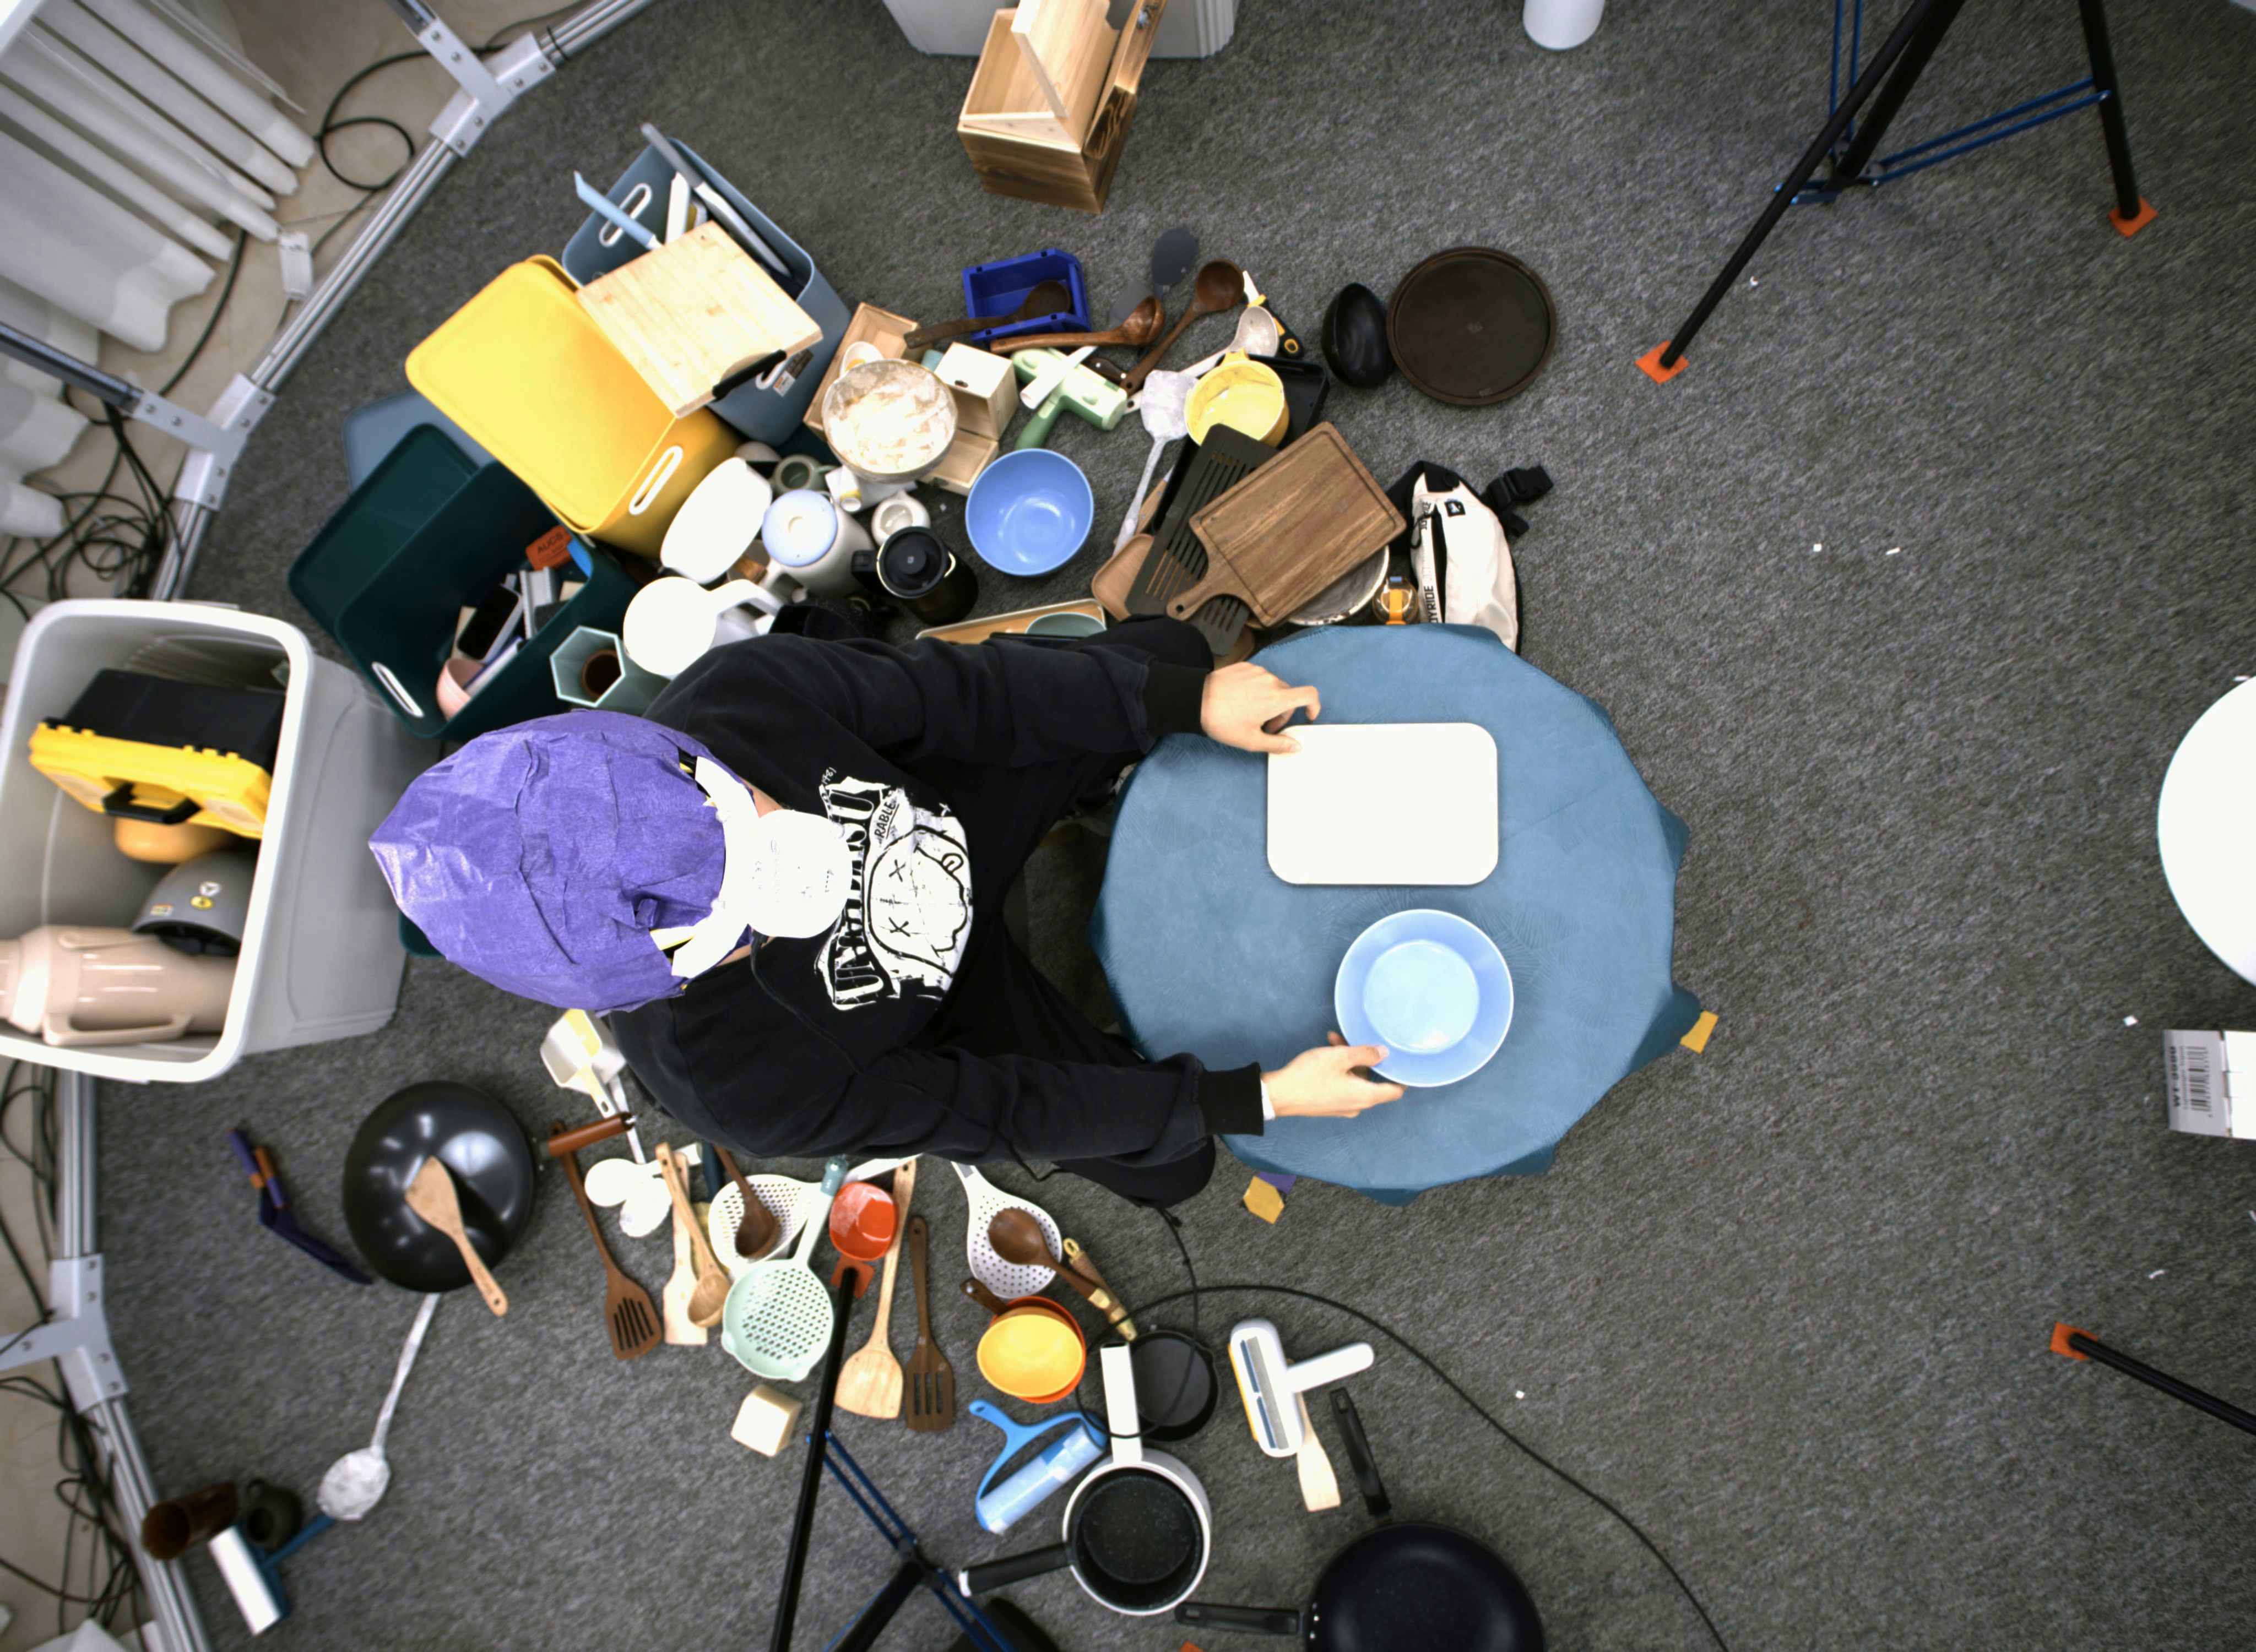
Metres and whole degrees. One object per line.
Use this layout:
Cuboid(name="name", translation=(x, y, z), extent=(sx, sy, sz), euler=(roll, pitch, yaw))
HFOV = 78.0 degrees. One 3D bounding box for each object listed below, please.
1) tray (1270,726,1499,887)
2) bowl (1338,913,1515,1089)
Cuboid(name="tray", translation=(0.271, -0.021, 1.462), extent=(0.240, 0.017, 0.170), euler=(0, 86, 10))
Cuboid(name="bowl", translation=(0.304, 0.178, 1.415), extent=(0.177, 0.070, 0.175), euler=(-1, 85, 10))
